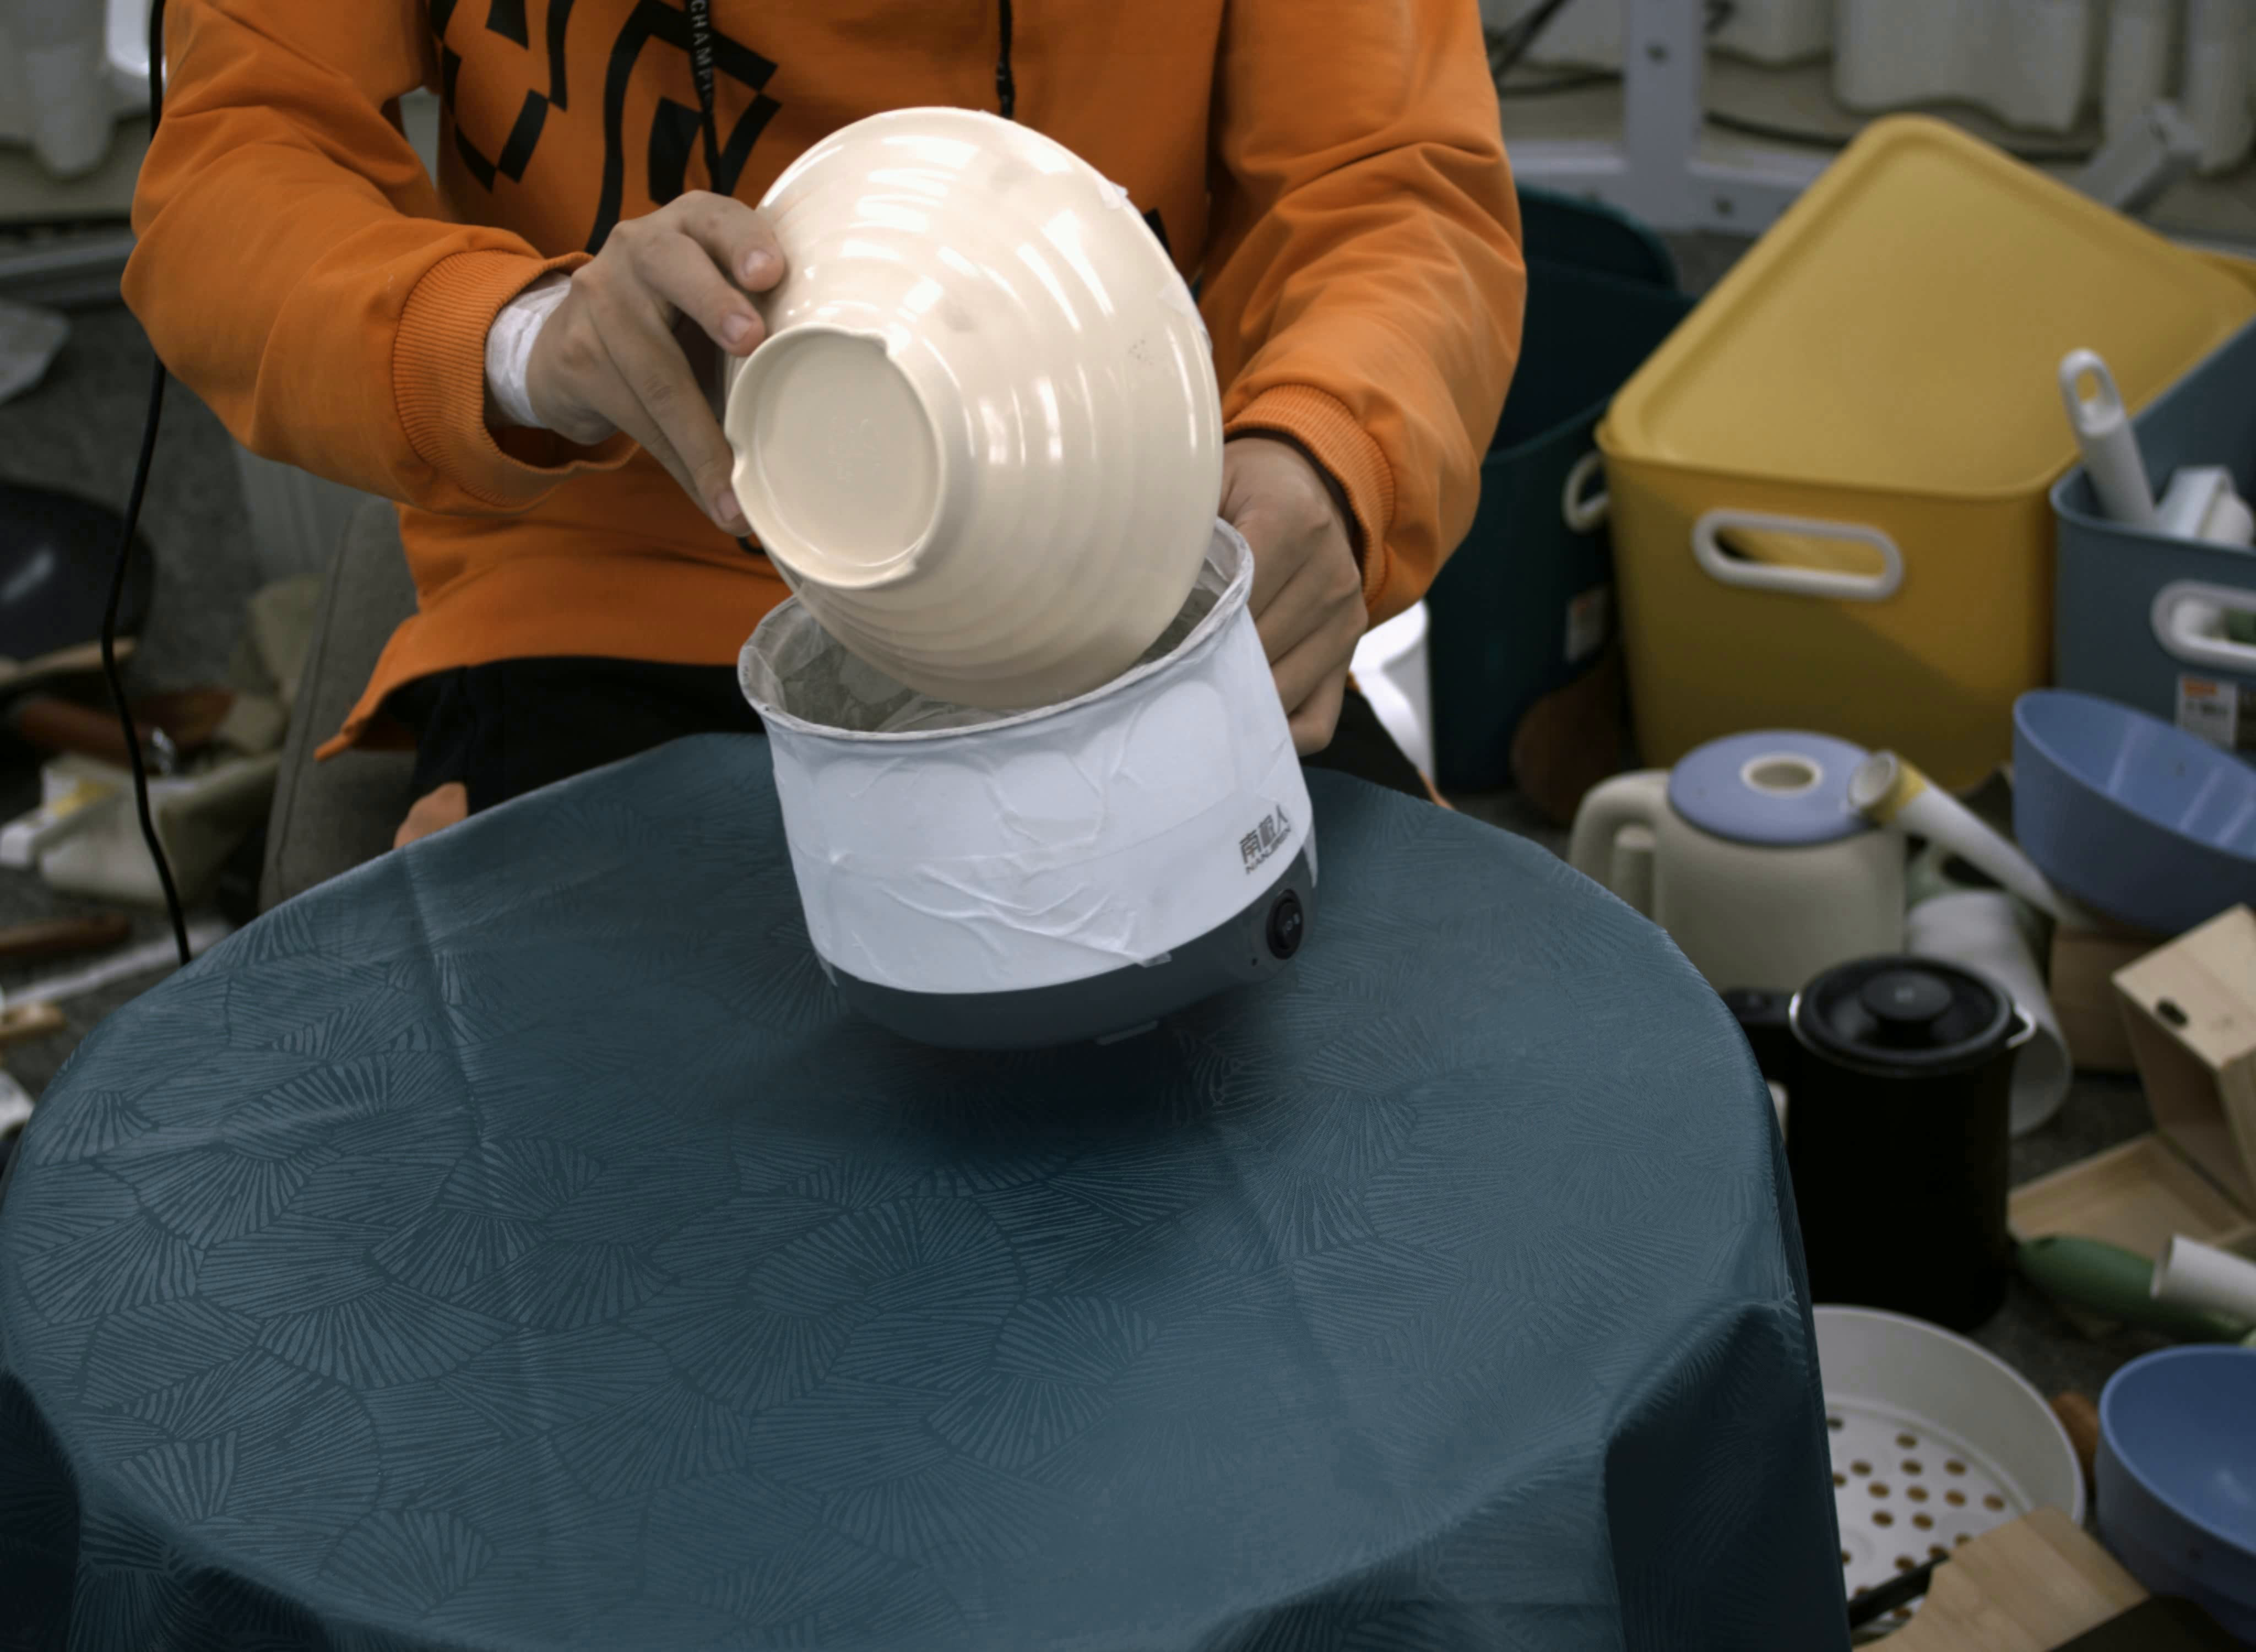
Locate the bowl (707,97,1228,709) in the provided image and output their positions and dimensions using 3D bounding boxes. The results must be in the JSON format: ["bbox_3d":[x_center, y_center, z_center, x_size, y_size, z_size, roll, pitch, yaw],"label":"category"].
[{"bbox_3d":[-0.073,-0.130,1.833,0.203,0.203,0.079,13,19,28],"label":"bowl"}]

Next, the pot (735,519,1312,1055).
[{"bbox_3d":[-0.019,-0.029,1.921,0.177,0.135,0.238,4,30,31],"label":"pot"}]
